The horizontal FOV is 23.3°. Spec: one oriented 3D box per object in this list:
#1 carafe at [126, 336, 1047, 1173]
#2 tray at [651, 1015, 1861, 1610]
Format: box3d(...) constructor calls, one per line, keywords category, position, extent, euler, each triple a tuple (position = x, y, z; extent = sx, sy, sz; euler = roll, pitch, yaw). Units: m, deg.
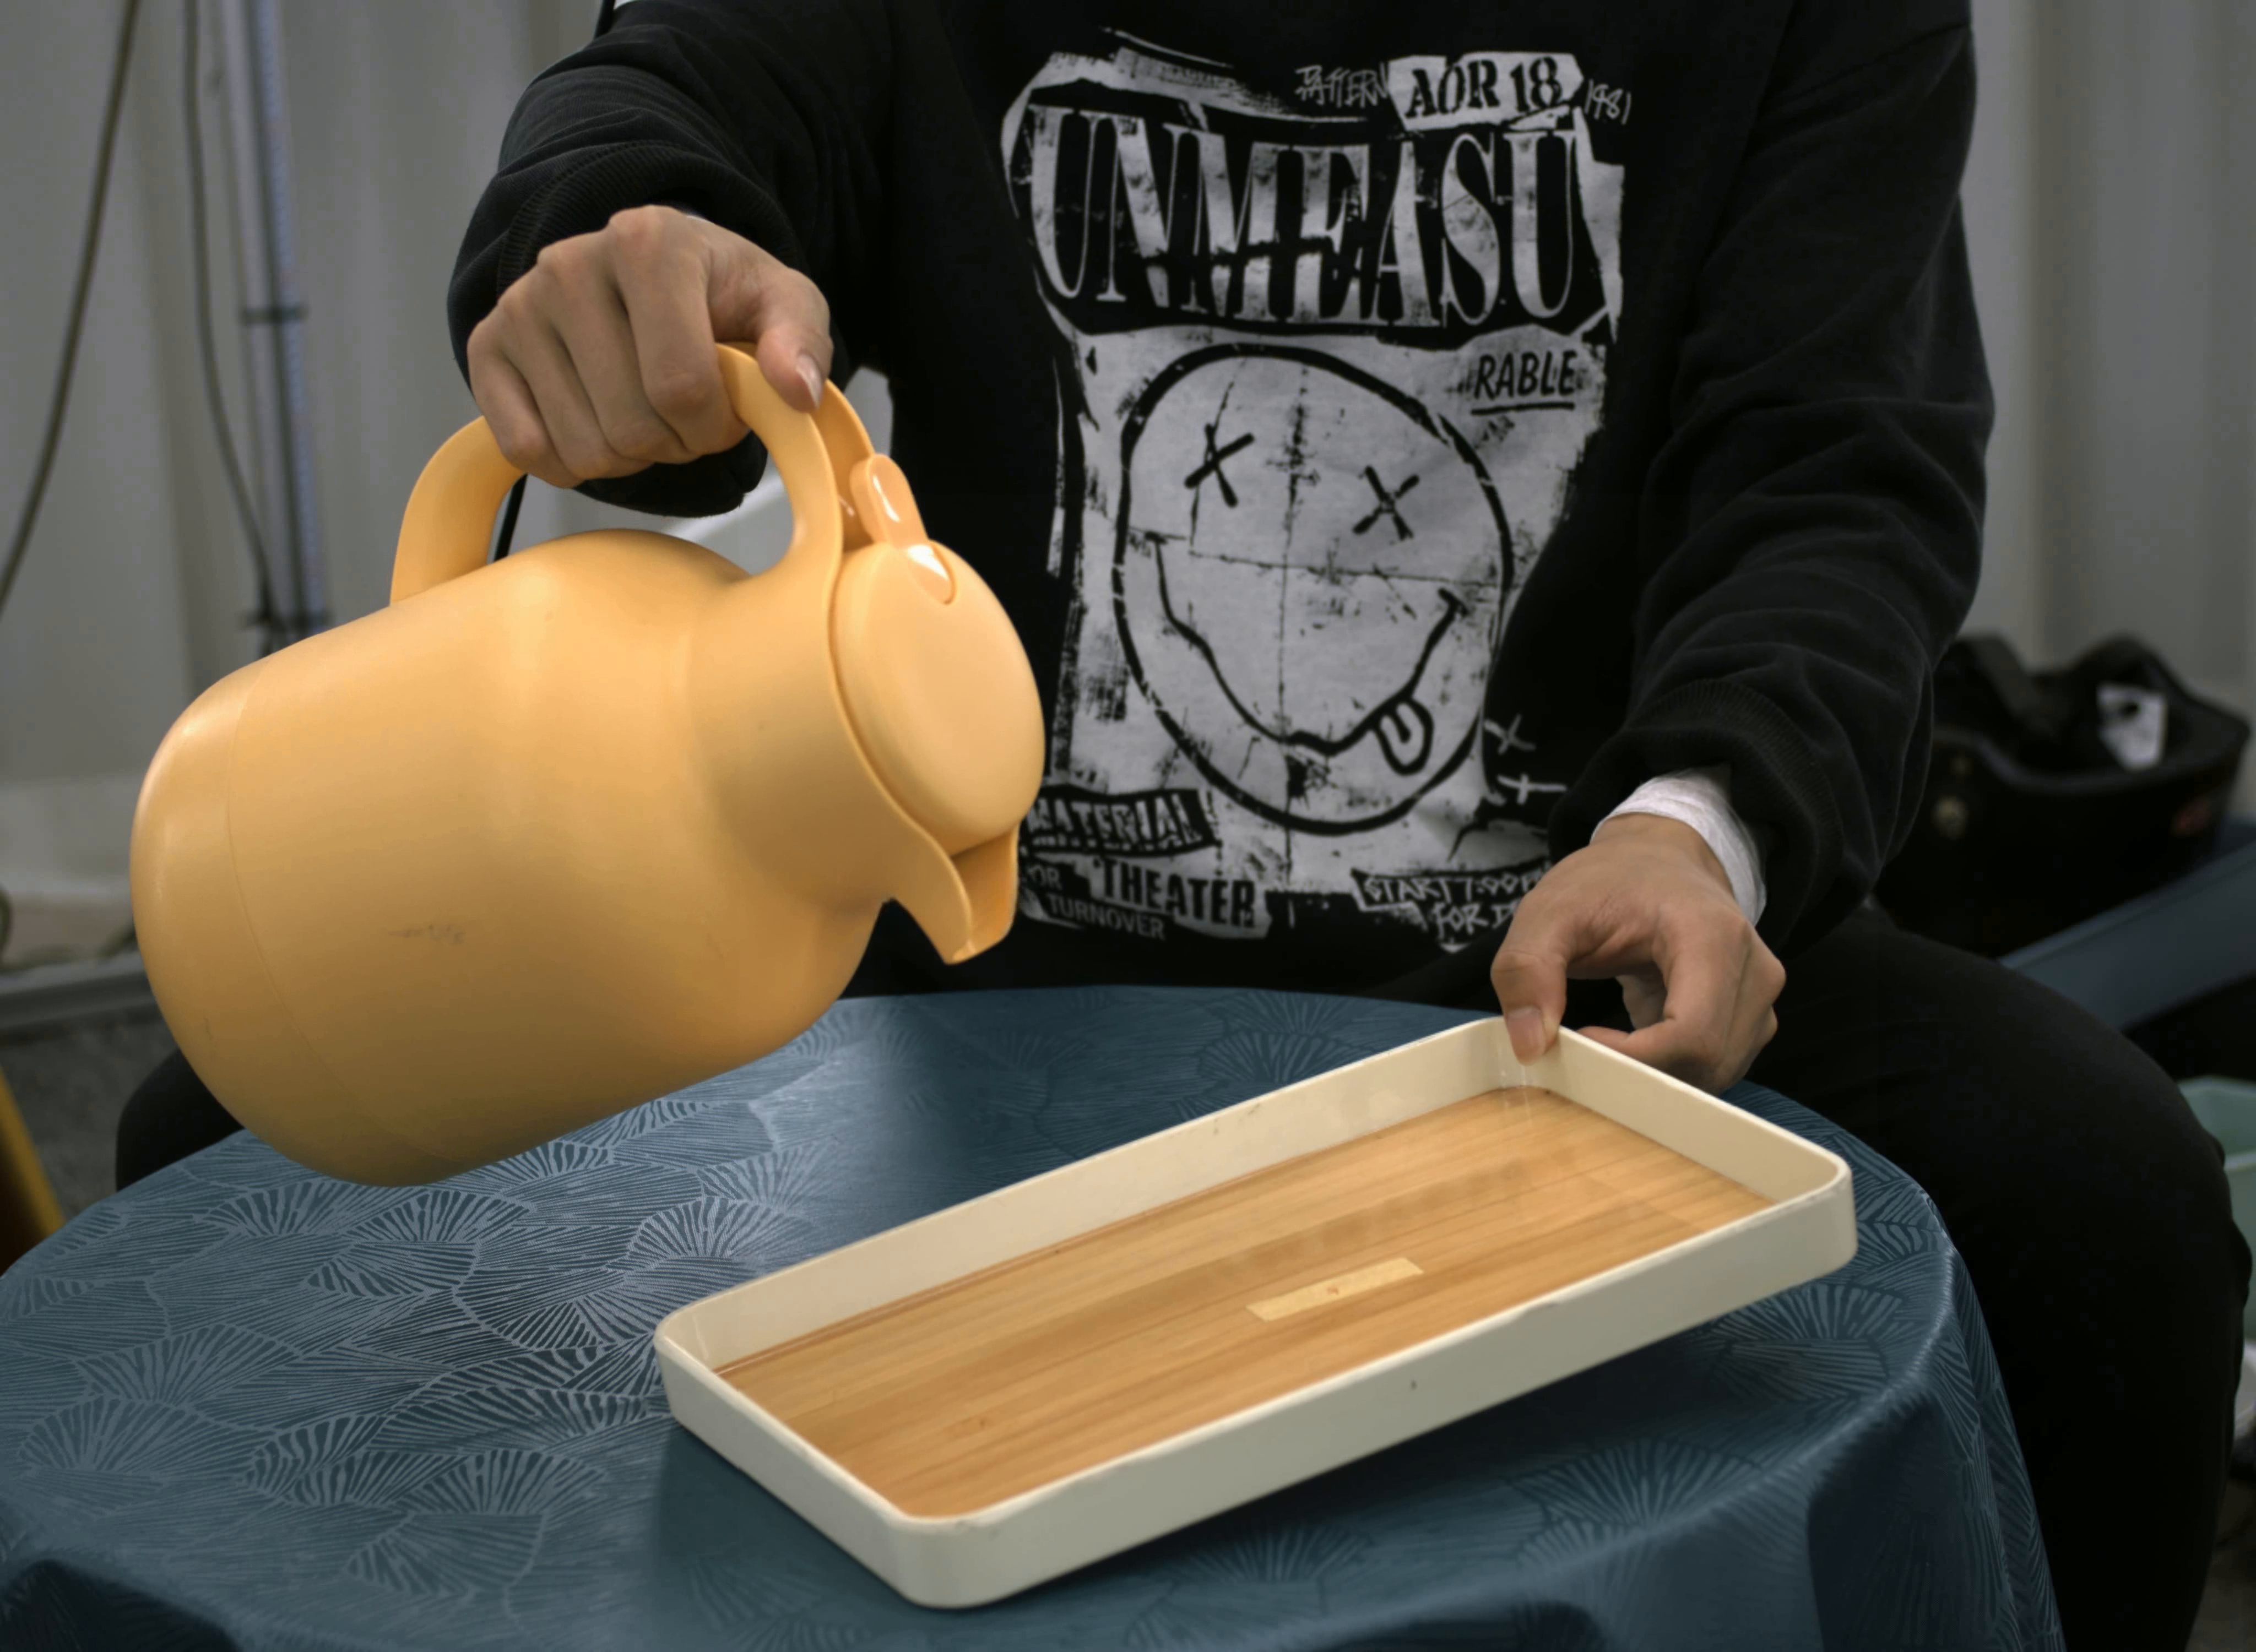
box3d(category="carafe", position=(-0.153, -0.023, 1.570), extent=(0.260, 0.204, 0.162), euler=(-19, -9, 27))
box3d(category="tray", position=(0.035, 0.130, 1.525), extent=(0.299, 0.027, 0.193), euler=(-18, 21, -23))
